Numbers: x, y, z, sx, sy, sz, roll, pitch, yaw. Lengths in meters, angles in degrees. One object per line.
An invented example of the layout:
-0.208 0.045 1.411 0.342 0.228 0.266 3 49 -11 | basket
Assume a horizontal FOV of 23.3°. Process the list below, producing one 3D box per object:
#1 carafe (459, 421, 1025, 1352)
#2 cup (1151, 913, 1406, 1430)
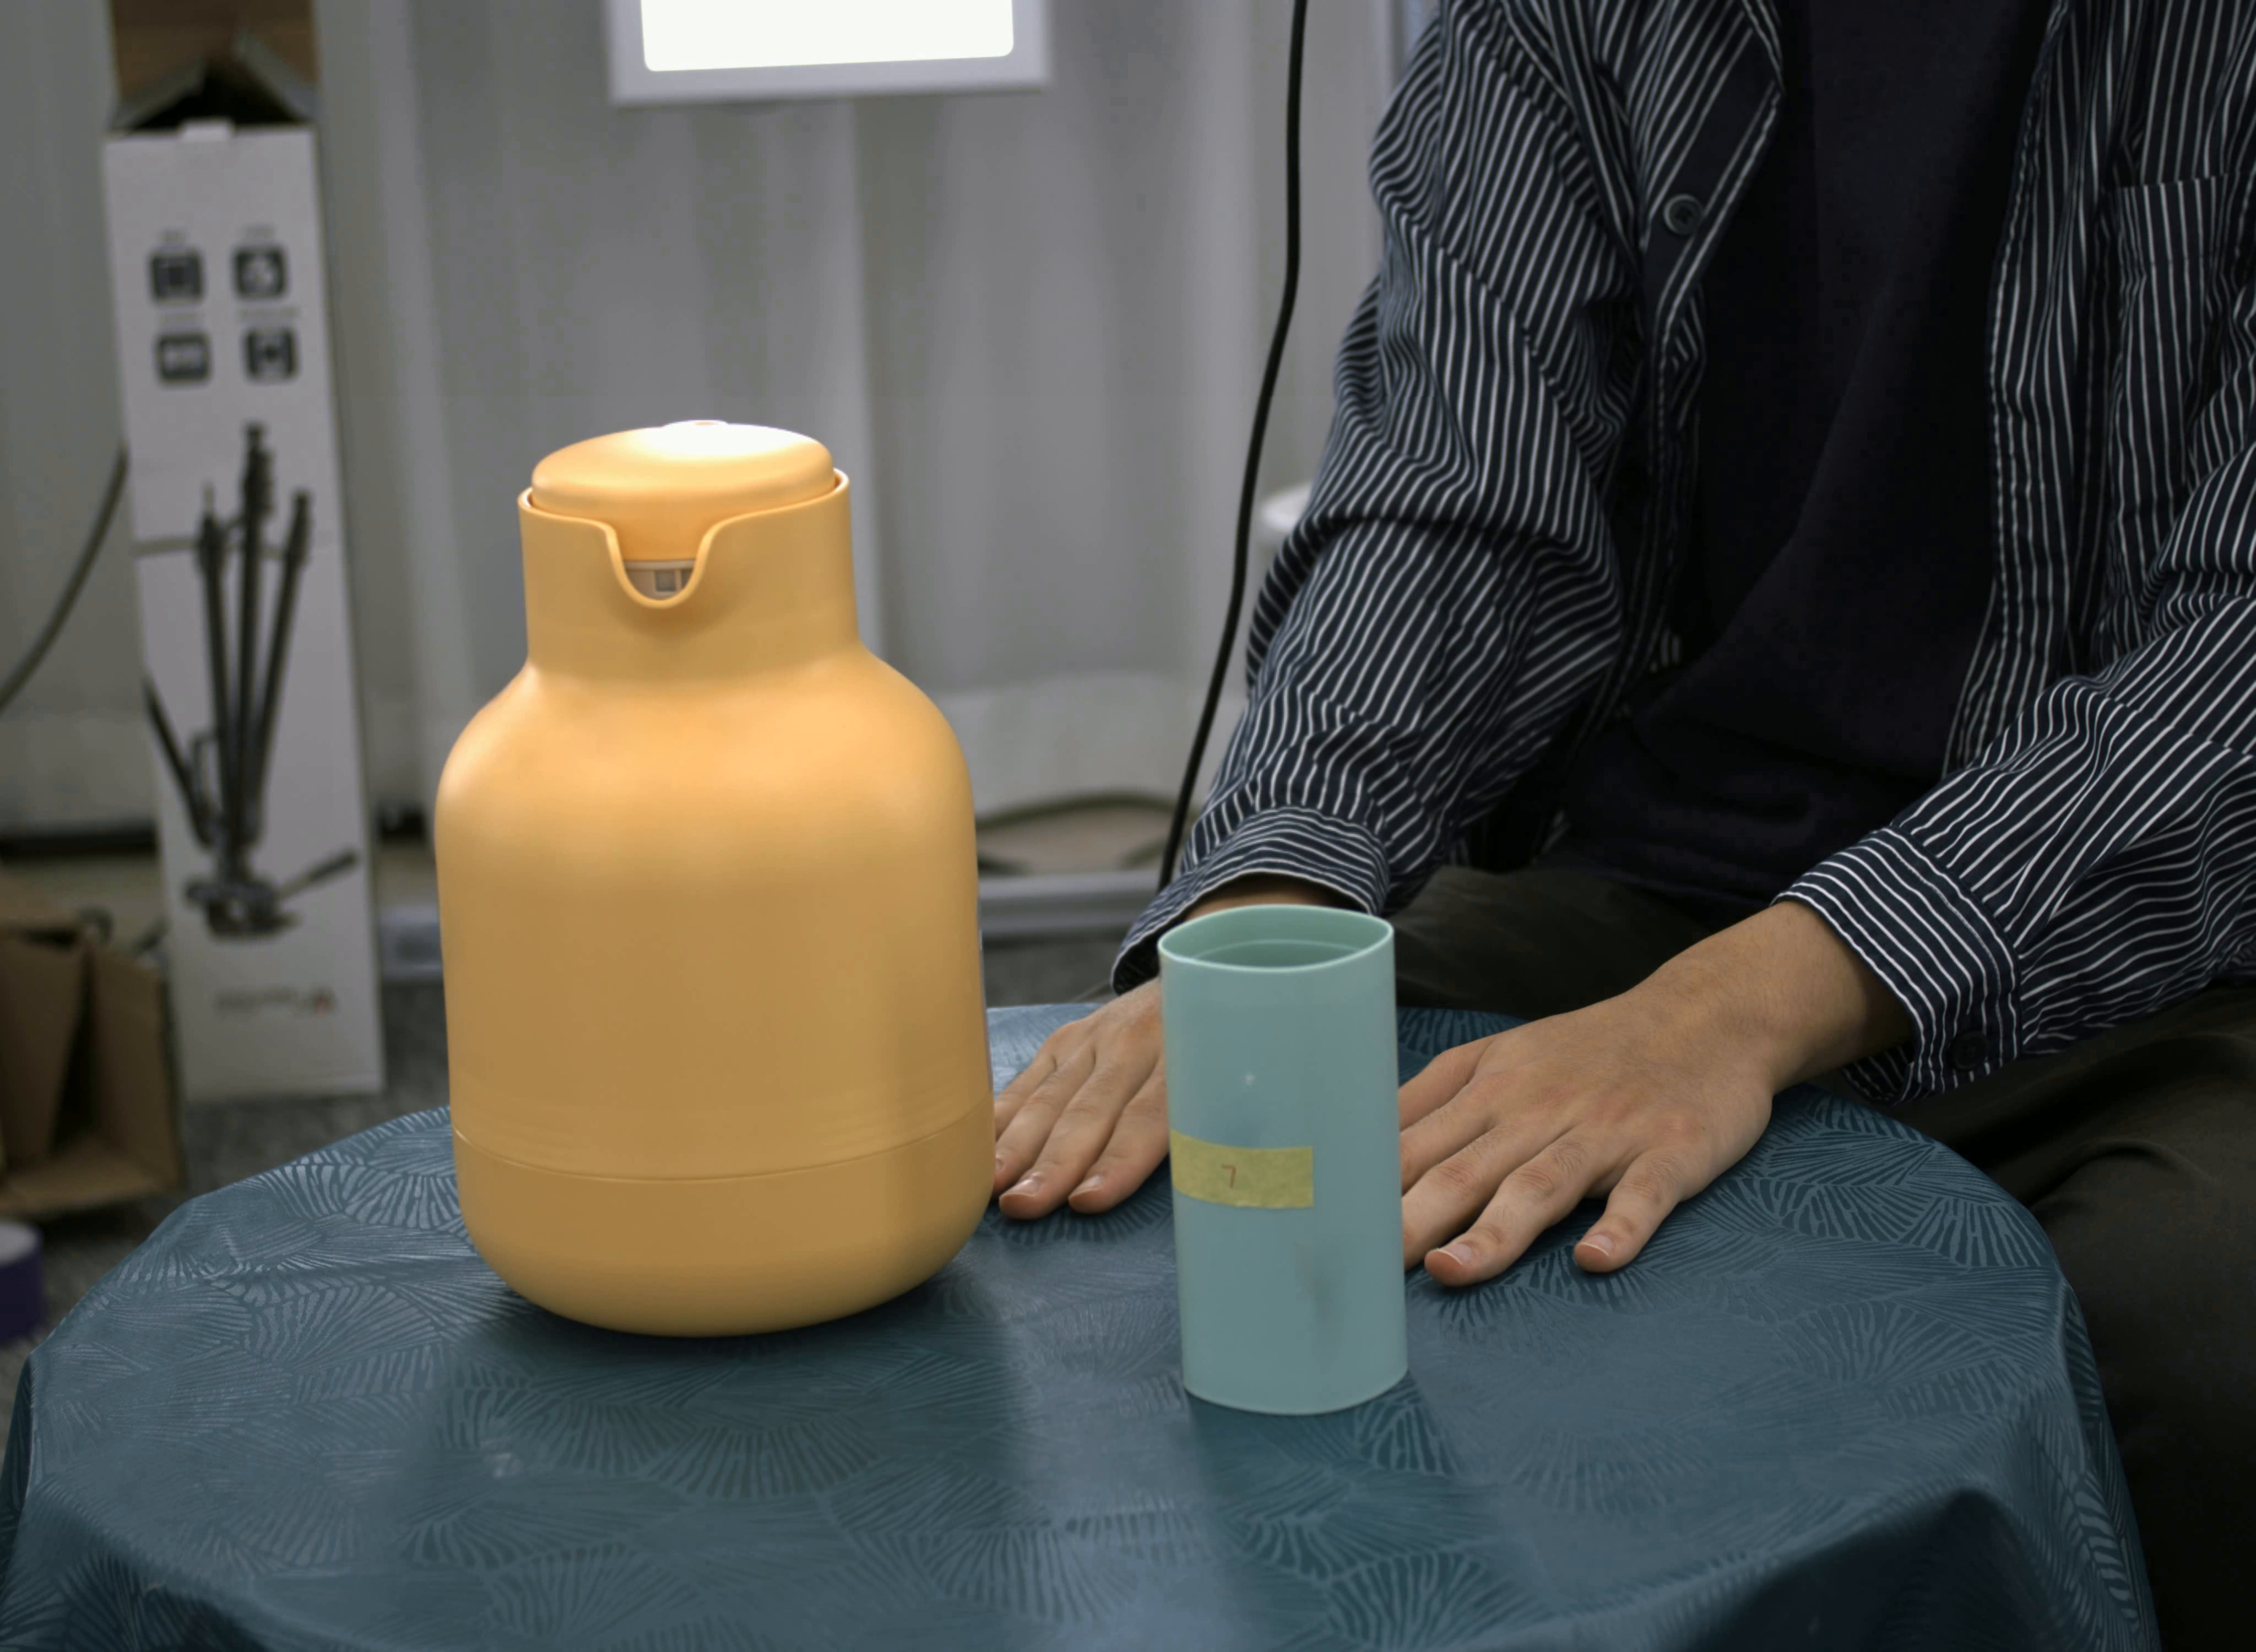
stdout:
-0.115 0.009 1.634 0.163 0.259 0.204 -2 14 0 | carafe
0.044 0.096 1.535 0.066 0.132 0.067 -4 15 1 | cup
